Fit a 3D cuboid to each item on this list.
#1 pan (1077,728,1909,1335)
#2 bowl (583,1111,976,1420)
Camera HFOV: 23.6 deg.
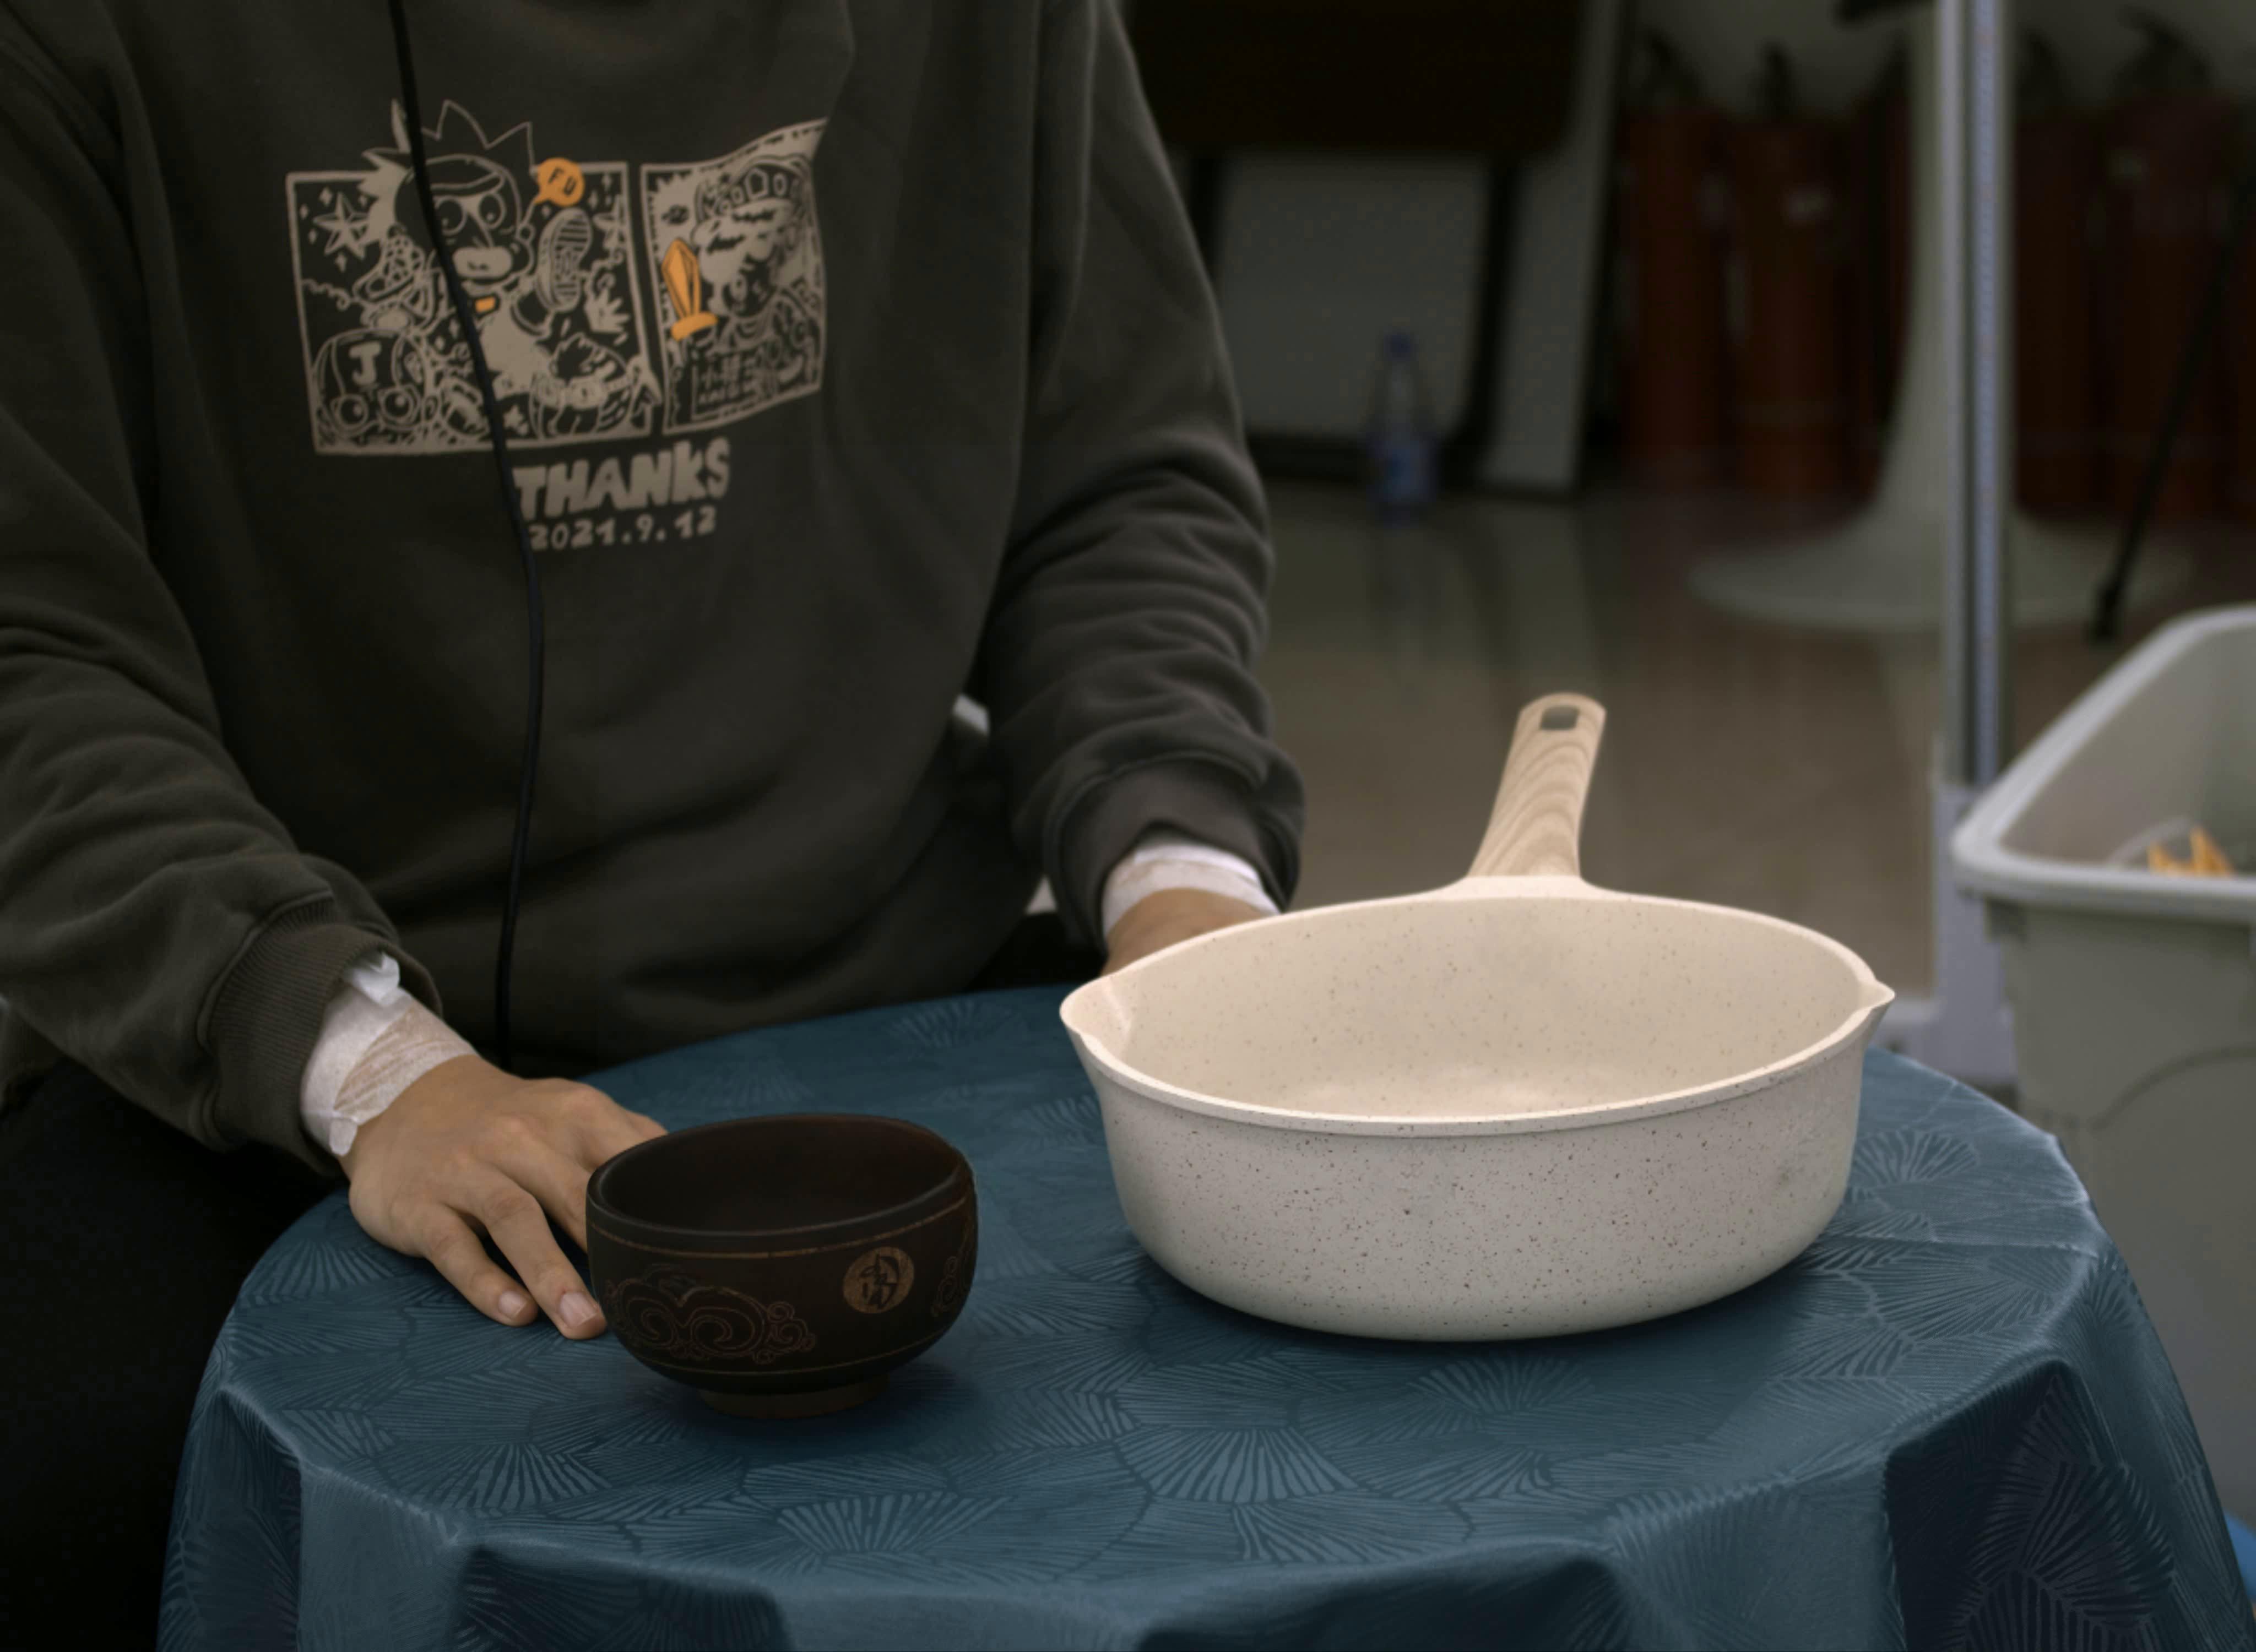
[{"bbox_3d":[0.130,0.063,1.771,0.261,0.103,0.433,-3,13,11],"label":"pan"},{"bbox_3d":[-0.101,0.134,1.602,0.116,0.070,0.118,-5,12,0],"label":"bowl"}]
